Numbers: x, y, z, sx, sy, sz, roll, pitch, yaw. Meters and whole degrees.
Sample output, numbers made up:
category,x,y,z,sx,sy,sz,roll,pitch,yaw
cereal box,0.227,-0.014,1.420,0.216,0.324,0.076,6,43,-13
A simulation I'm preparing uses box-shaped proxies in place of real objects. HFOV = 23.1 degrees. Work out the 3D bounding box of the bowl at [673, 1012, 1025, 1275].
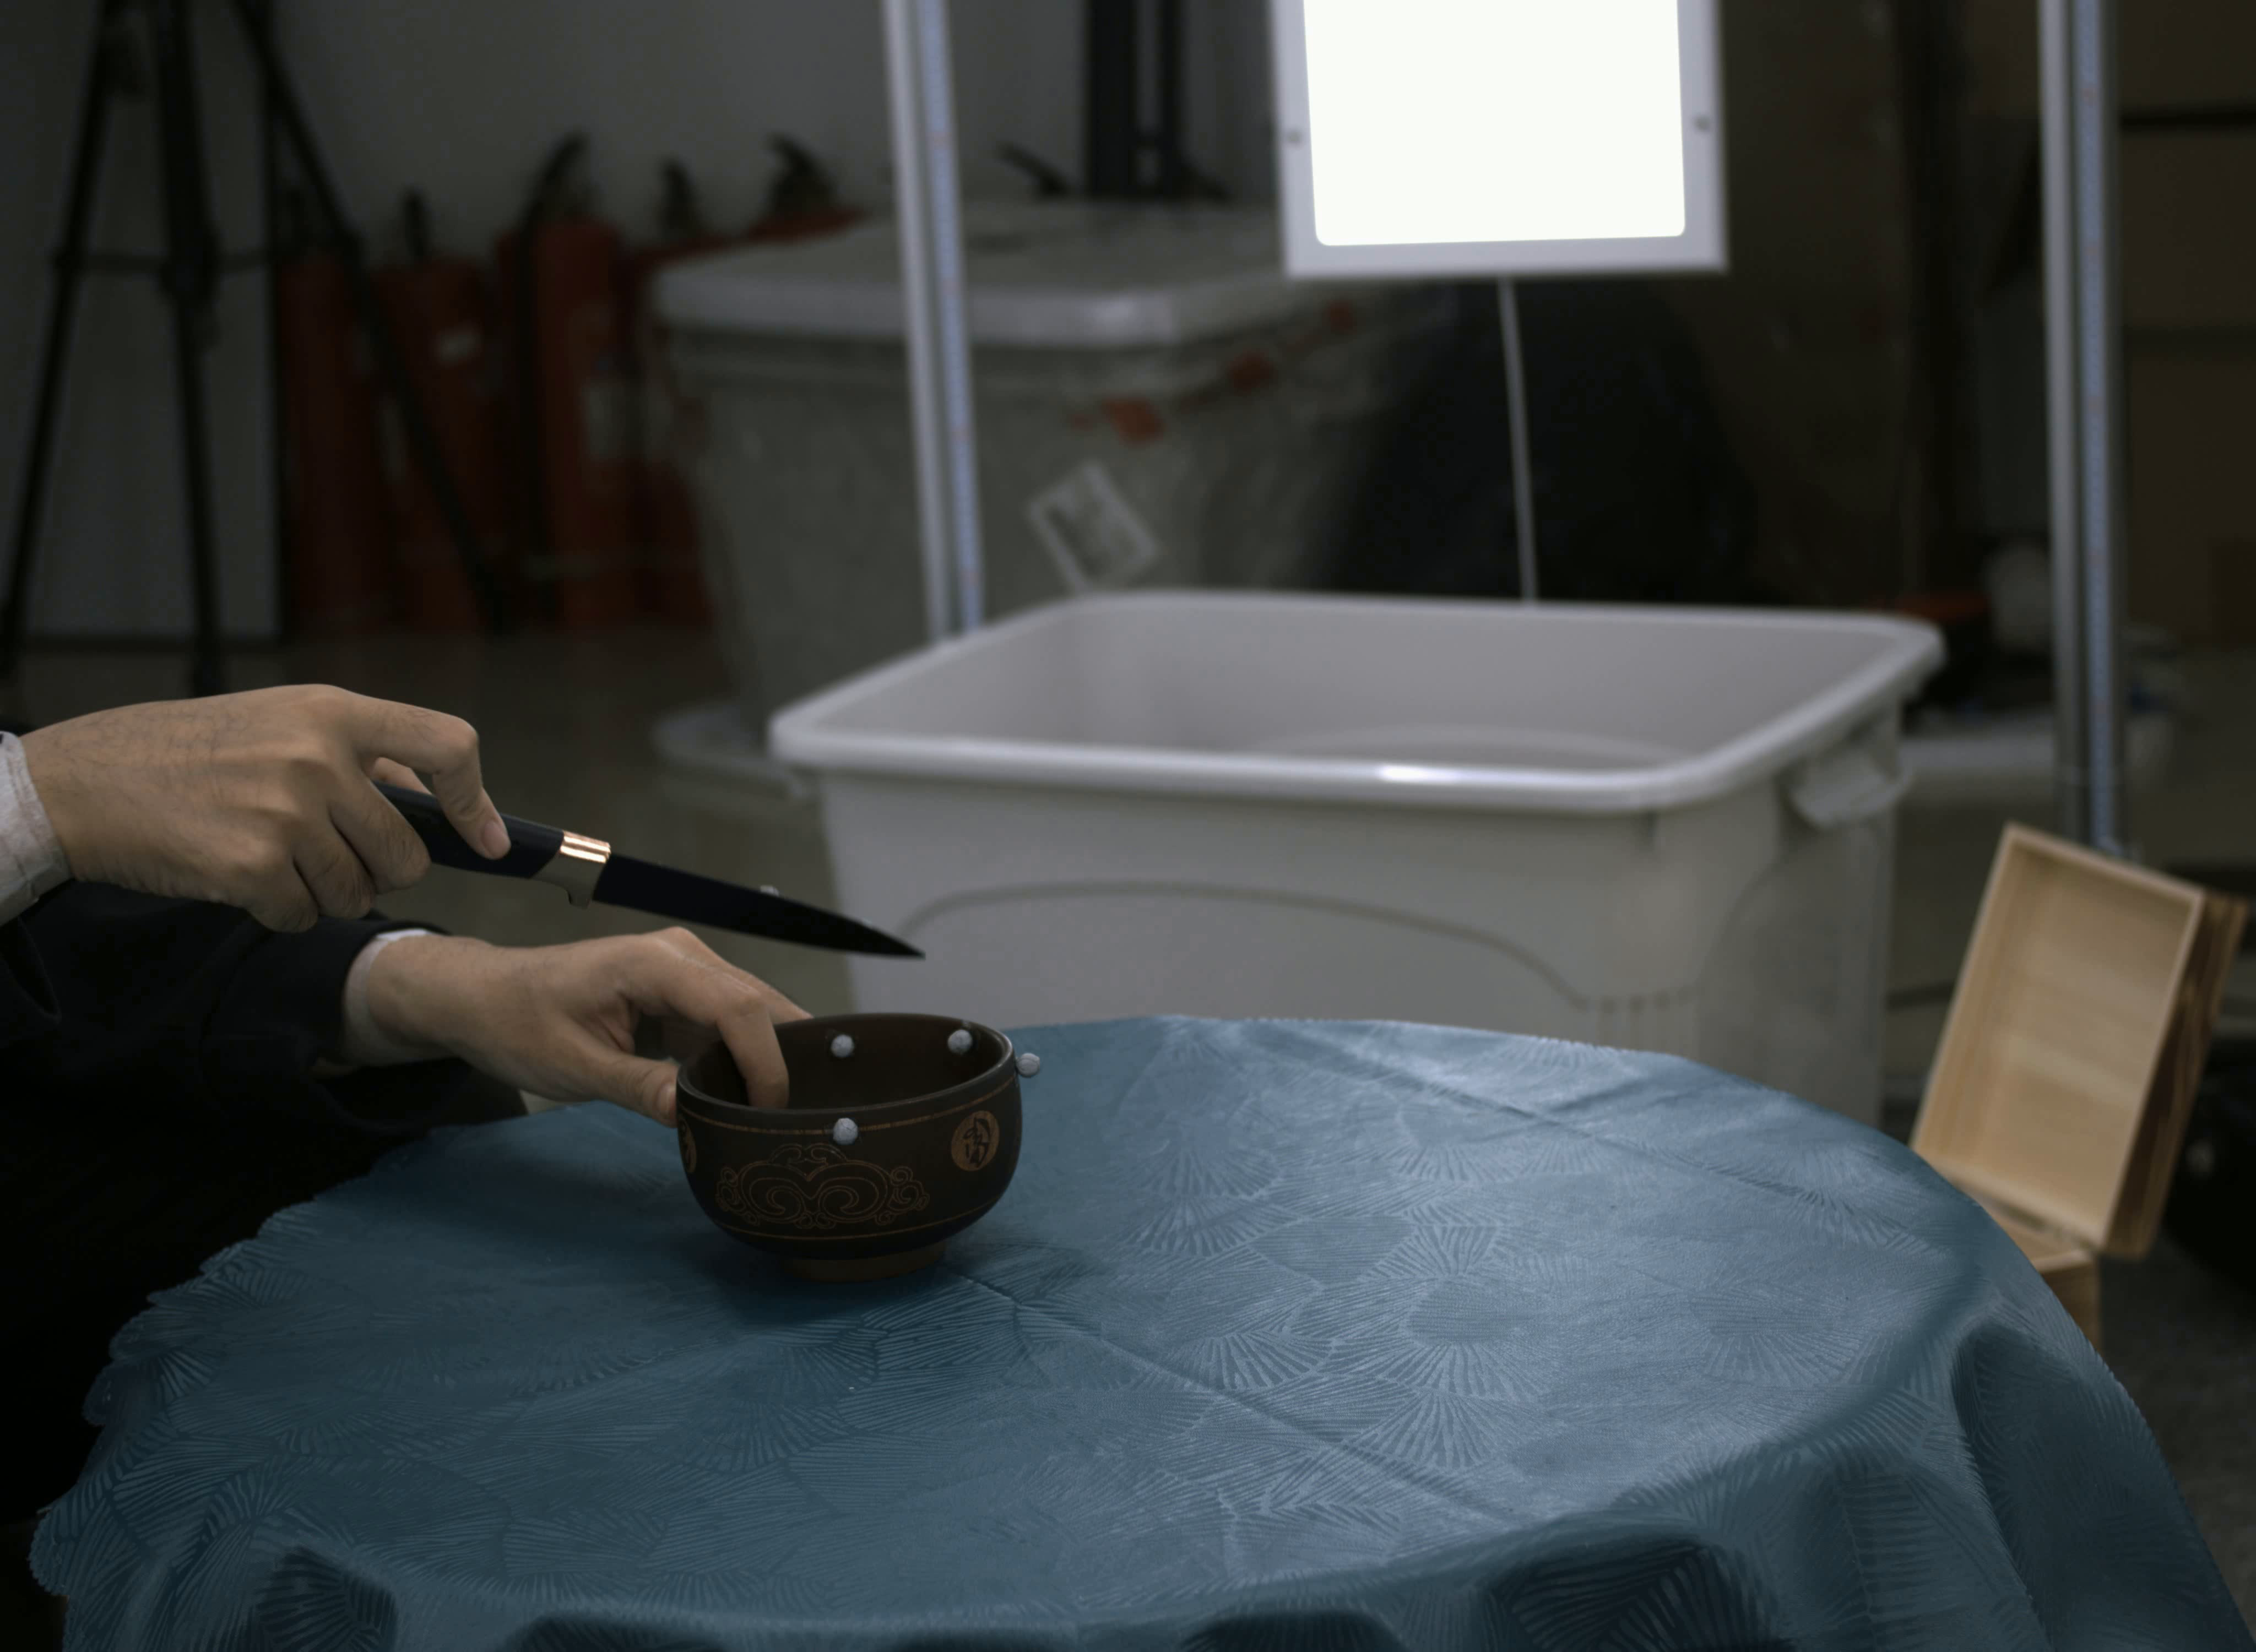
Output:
category,x,y,z,sx,sy,sz,roll,pitch,yaw
bowl,-0.091,0.109,1.843,0.118,0.070,0.118,-6,11,0

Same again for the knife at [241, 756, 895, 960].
category,x,y,z,sx,sy,sz,roll,pitch,yaw
knife,-0.181,0.012,1.800,0.223,0.017,0.026,15,-28,-12
